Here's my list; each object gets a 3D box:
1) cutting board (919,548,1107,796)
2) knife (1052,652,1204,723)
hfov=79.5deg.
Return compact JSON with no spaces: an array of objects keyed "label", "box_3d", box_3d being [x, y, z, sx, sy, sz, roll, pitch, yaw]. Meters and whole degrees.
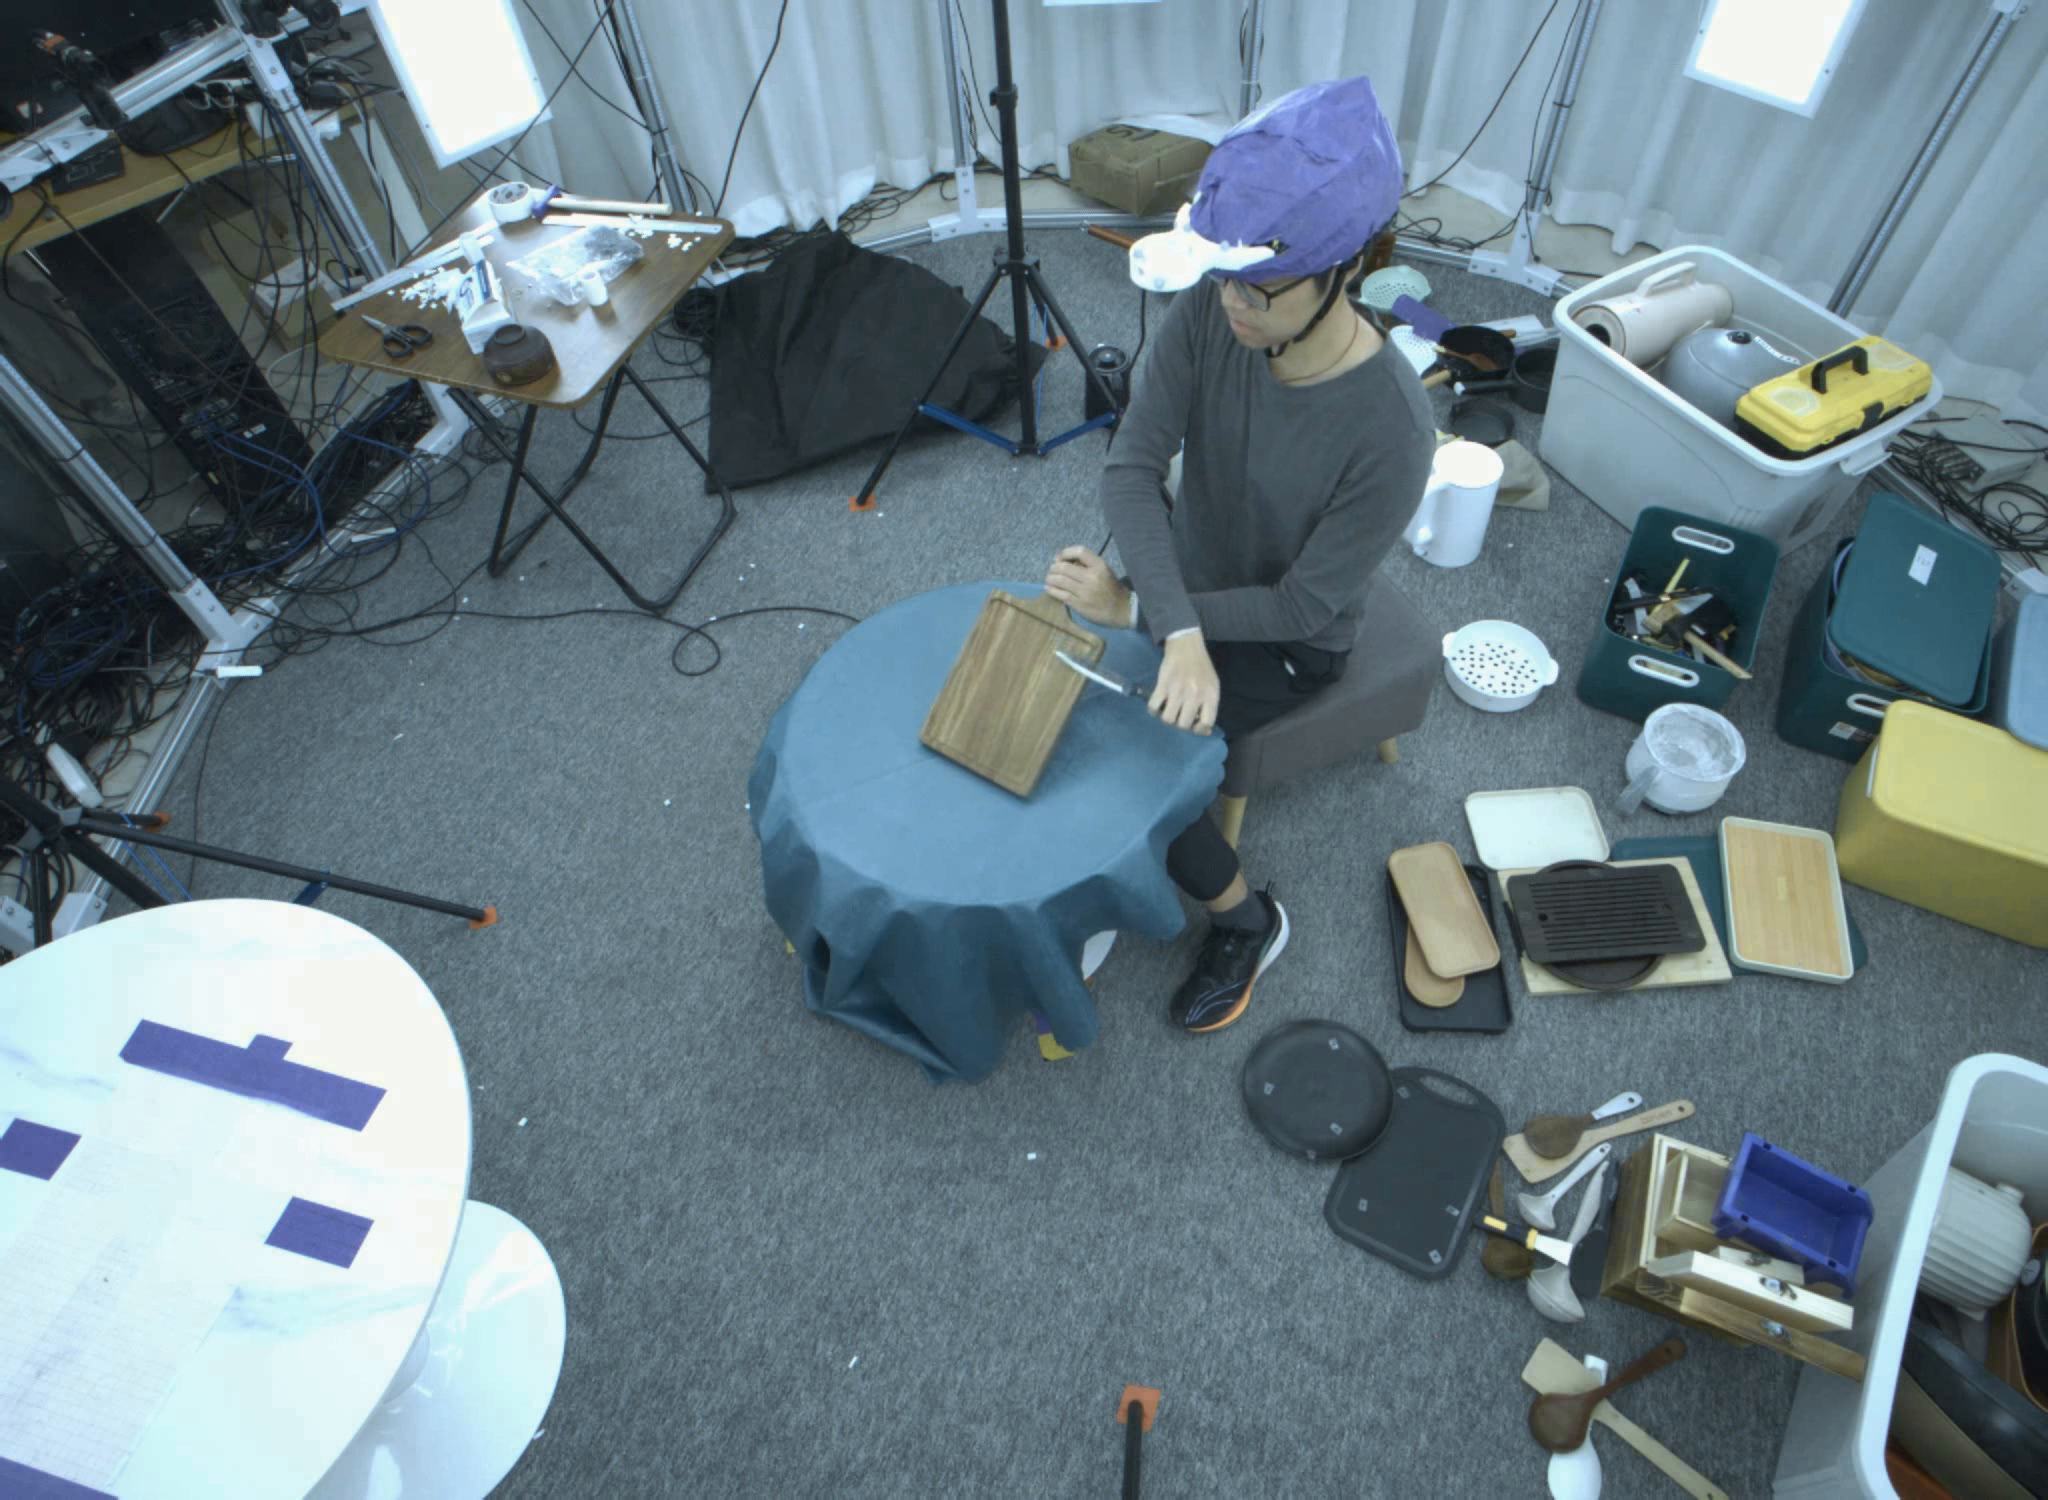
[{"label":"cutting board","box_3d":[0.003,-0.129,1.764,0.198,0.023,0.352,27,91,19]},{"label":"knife","box_3d":[0.143,-0.092,1.706,0.235,0.016,0.024,25,98,15]}]
